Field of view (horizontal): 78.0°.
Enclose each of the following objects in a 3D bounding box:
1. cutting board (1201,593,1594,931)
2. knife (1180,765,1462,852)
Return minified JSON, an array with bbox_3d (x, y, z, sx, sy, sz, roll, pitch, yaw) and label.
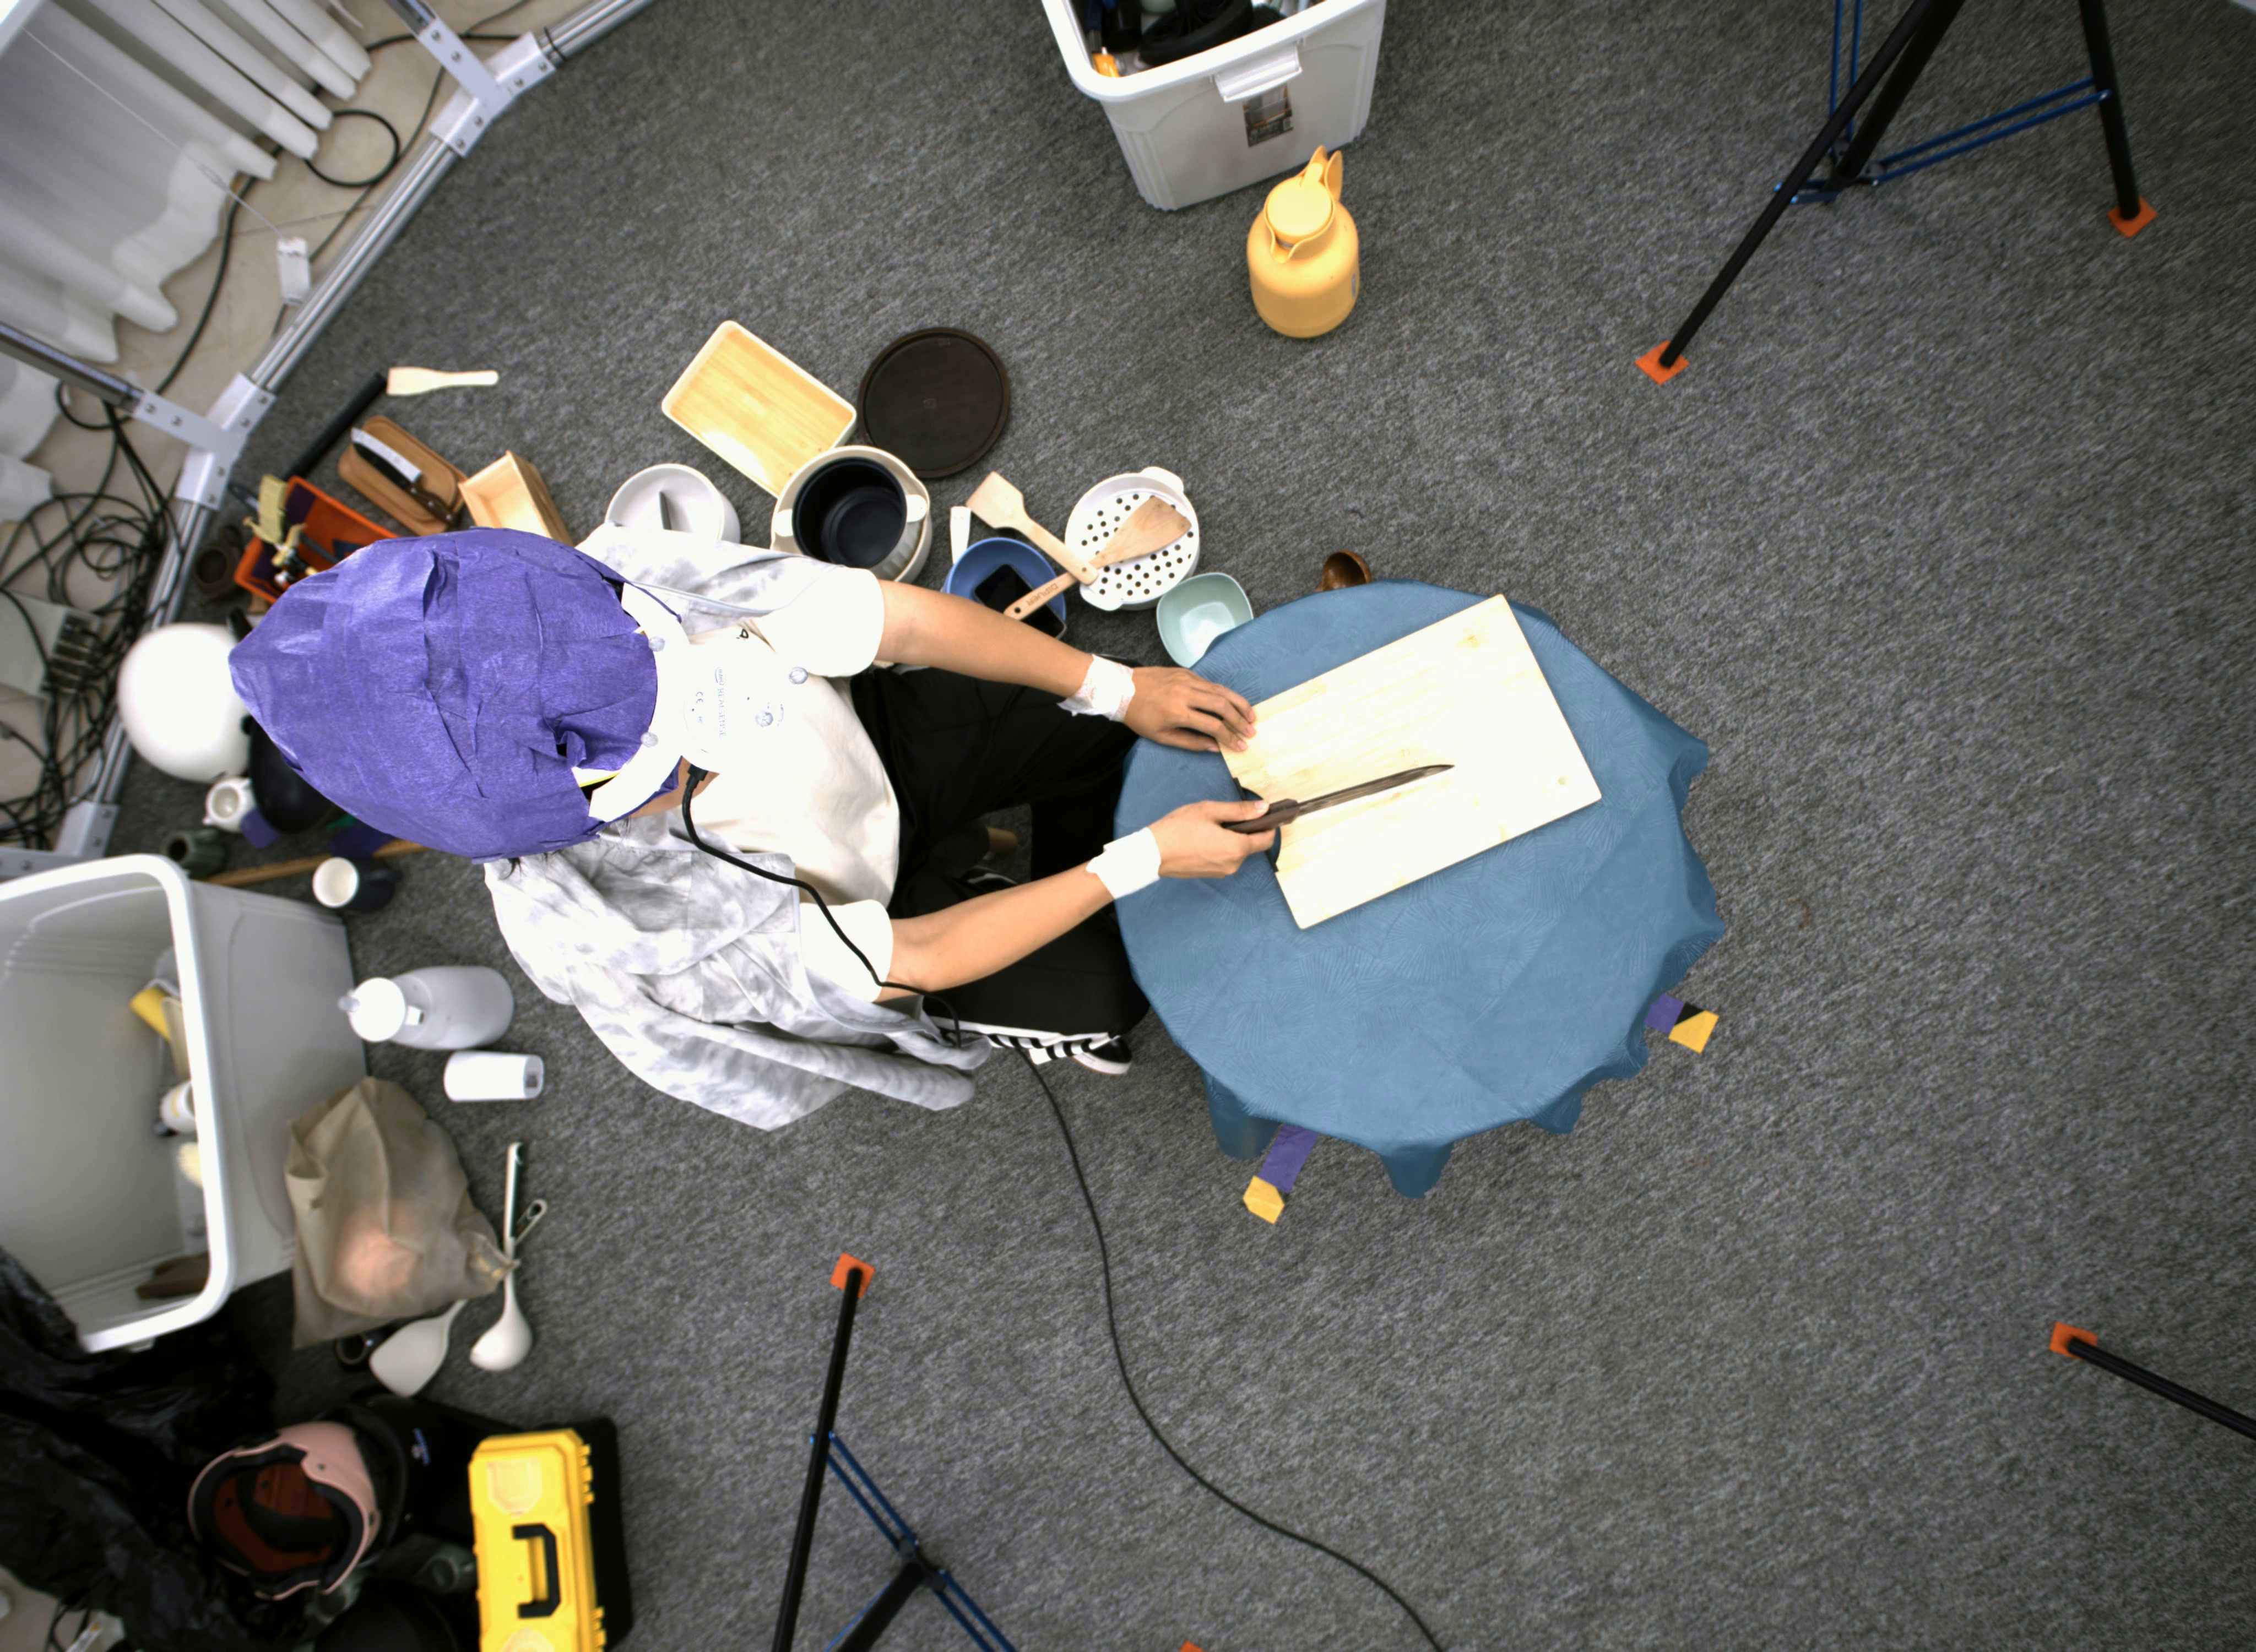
[{"bbox_3d":[0.283,-0.068,1.455,0.351,0.023,0.249,-25,82,9],"label":"cutting board"},{"bbox_3d":[0.200,-0.022,1.421,0.301,0.068,0.023,-17,74,7],"label":"knife"}]
